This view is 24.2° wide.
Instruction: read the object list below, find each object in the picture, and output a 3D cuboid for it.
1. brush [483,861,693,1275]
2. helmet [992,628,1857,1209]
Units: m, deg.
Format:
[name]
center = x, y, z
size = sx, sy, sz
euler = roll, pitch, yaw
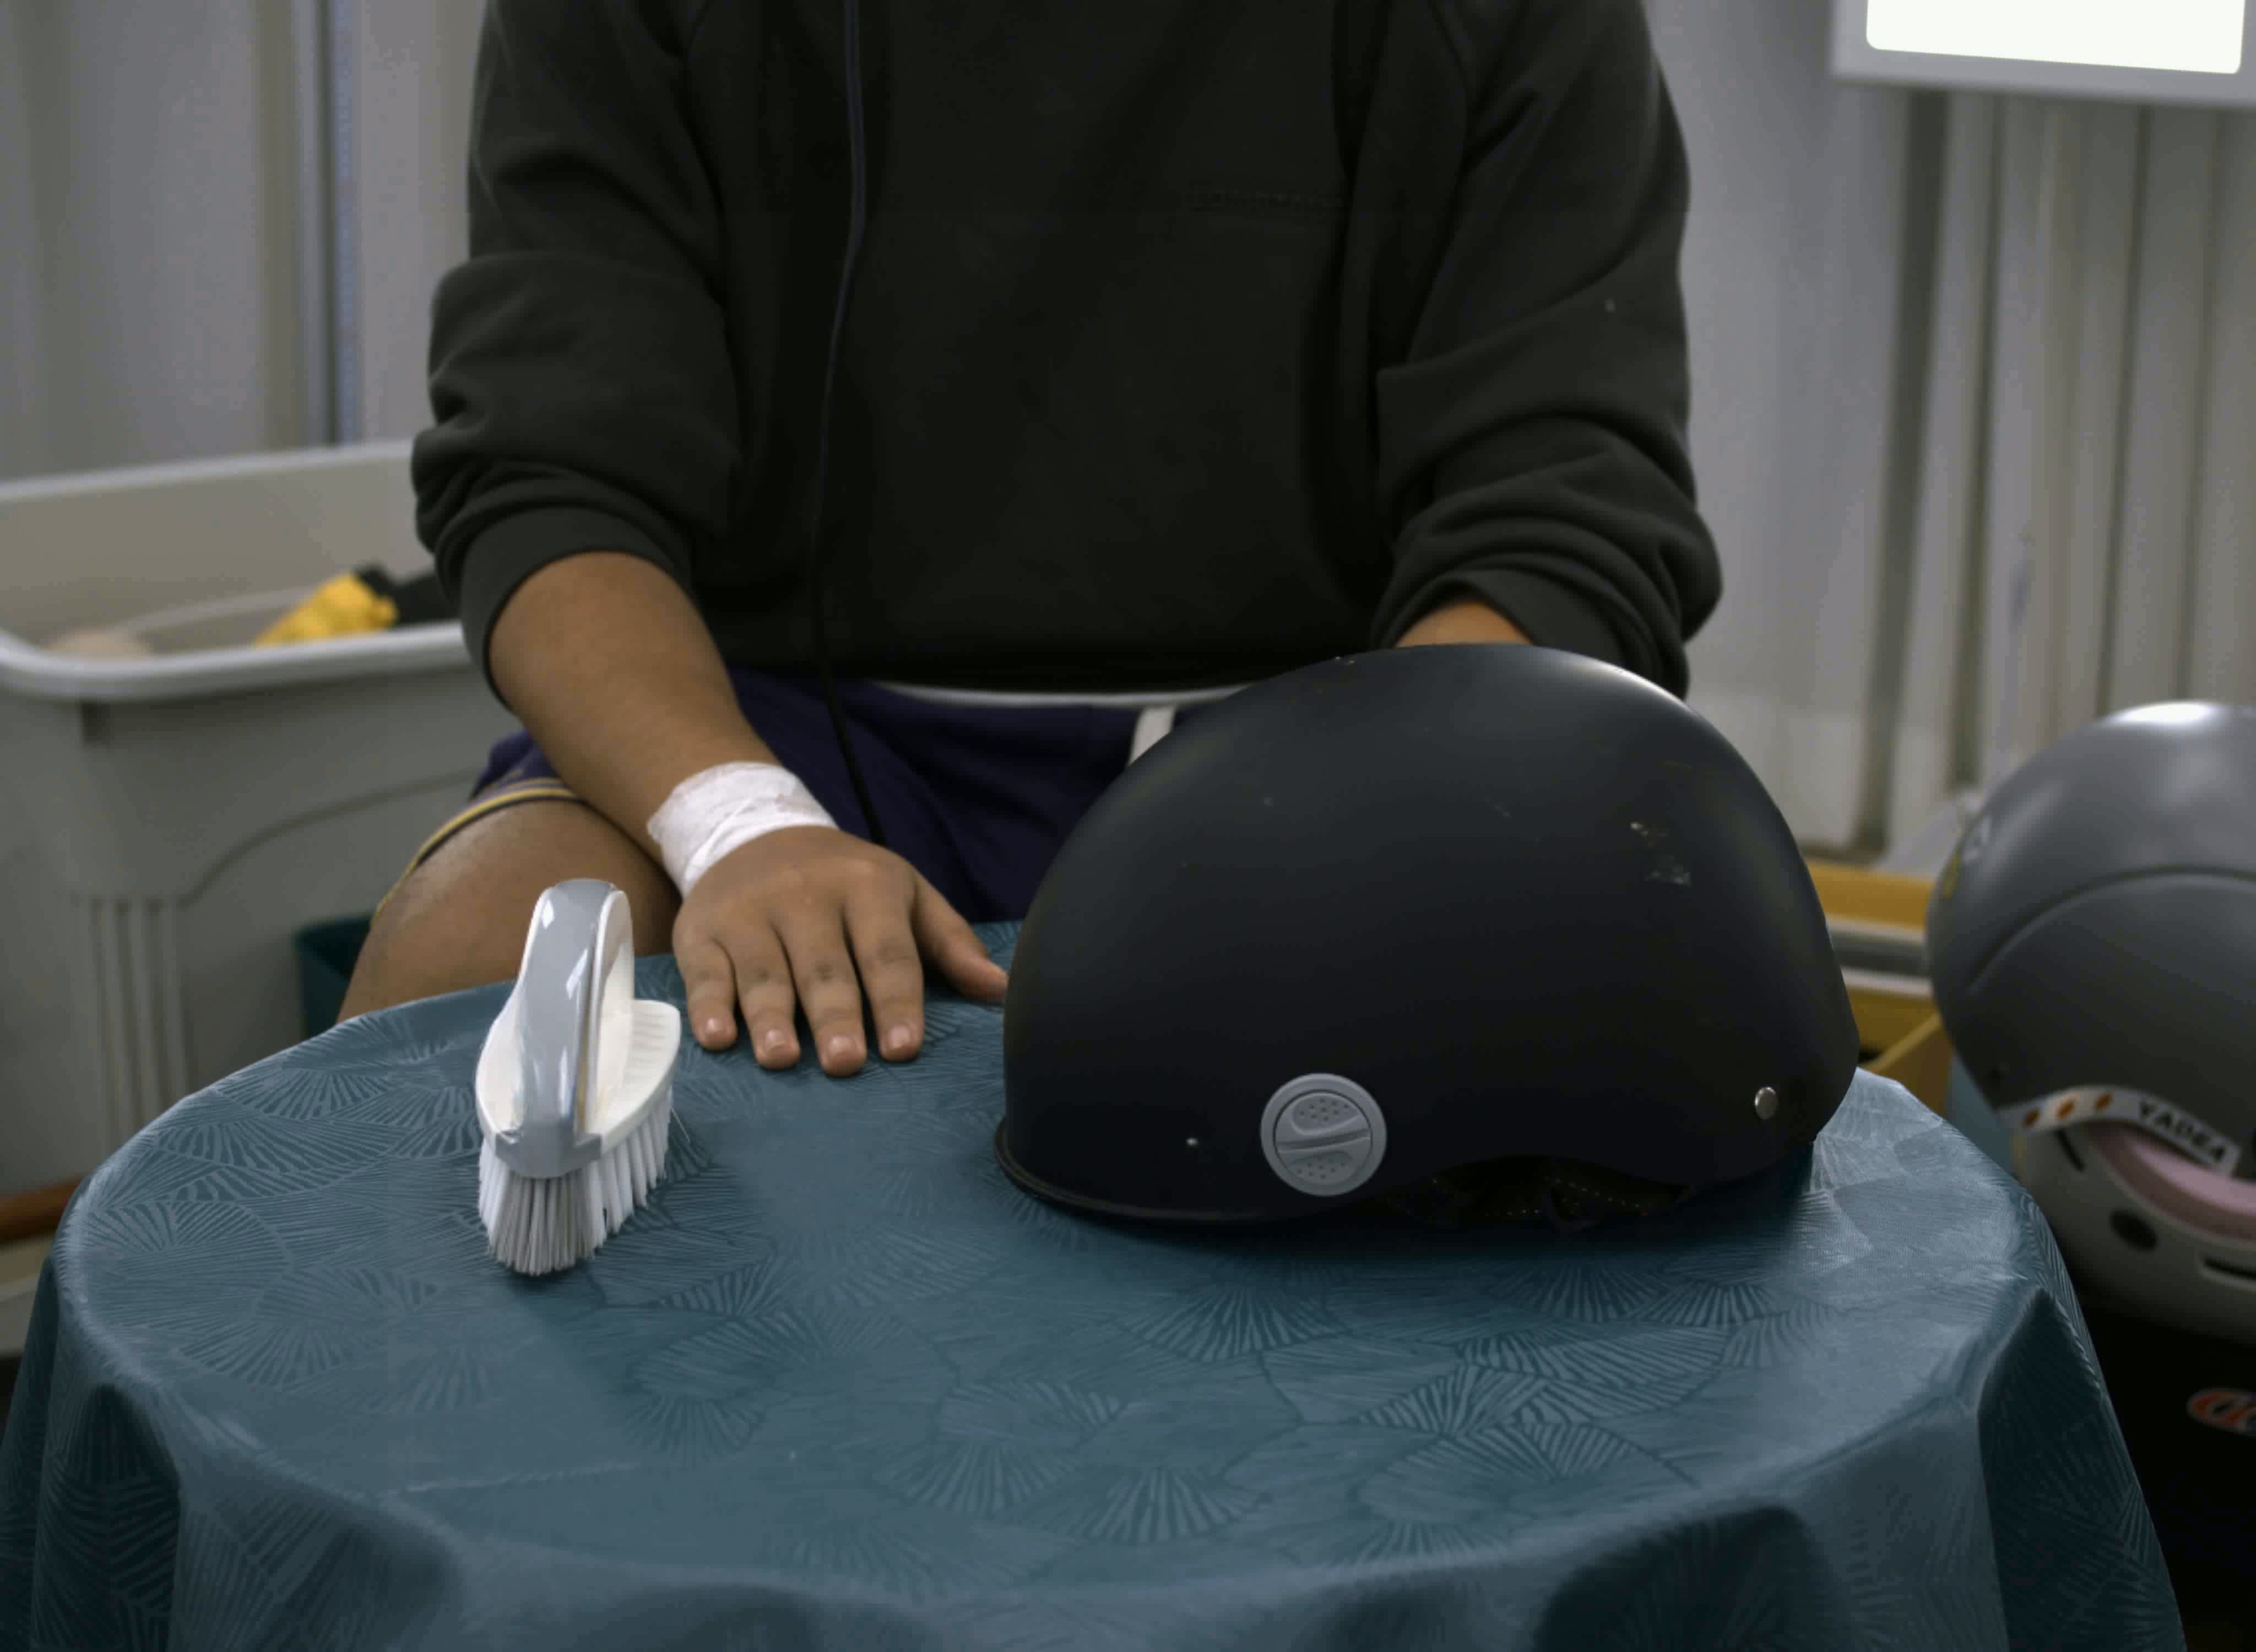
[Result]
[brush]
center = -0.168, 0.068, 1.605
size = 0.061, 0.095, 0.174
euler = -1, 17, 1
[helmet]
center = 0.091, 0.024, 1.644
size = 0.272, 0.168, 0.229
euler = -2, 16, -1
